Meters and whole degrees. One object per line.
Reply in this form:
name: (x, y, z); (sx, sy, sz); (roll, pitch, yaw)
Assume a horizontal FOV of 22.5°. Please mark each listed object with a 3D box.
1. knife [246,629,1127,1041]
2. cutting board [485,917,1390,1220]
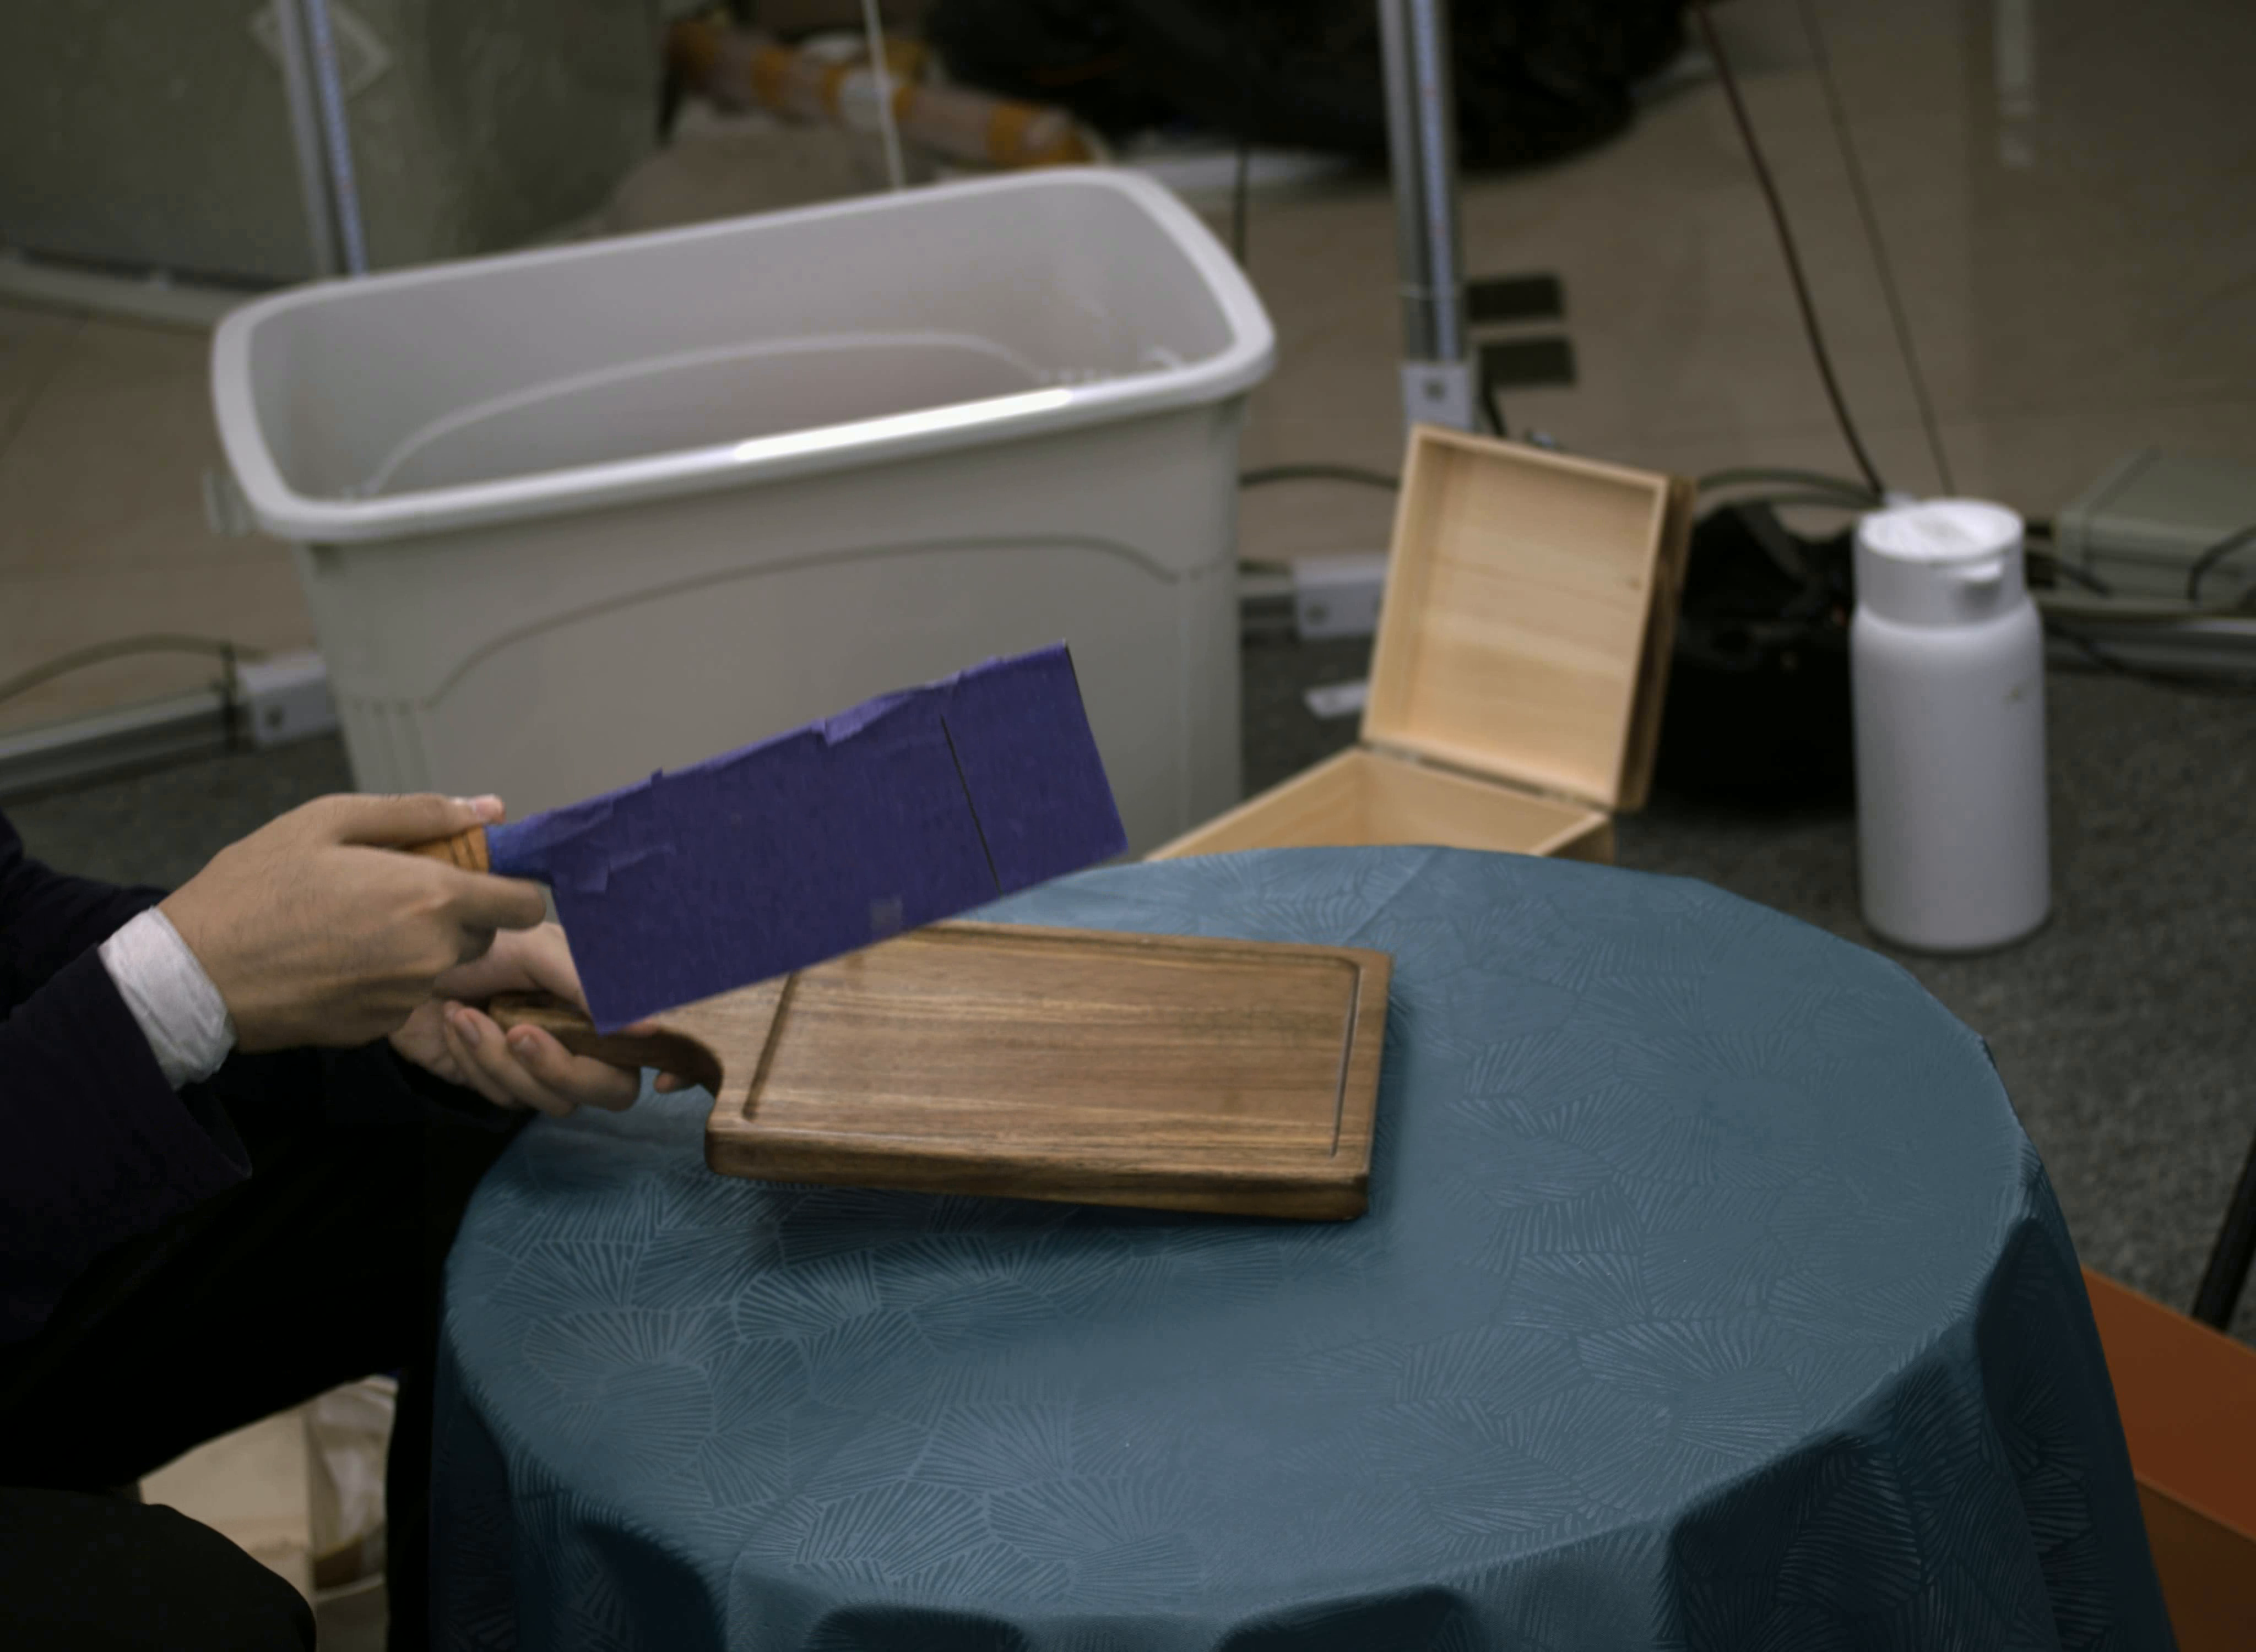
knife: (-0.155, 0.024, 2.040); (0.314, 0.105, 0.032); (-18, 23, -4)
cutting board: (-0.076, 0.087, 2.204); (0.351, 0.023, 0.198); (4, 26, 4)
